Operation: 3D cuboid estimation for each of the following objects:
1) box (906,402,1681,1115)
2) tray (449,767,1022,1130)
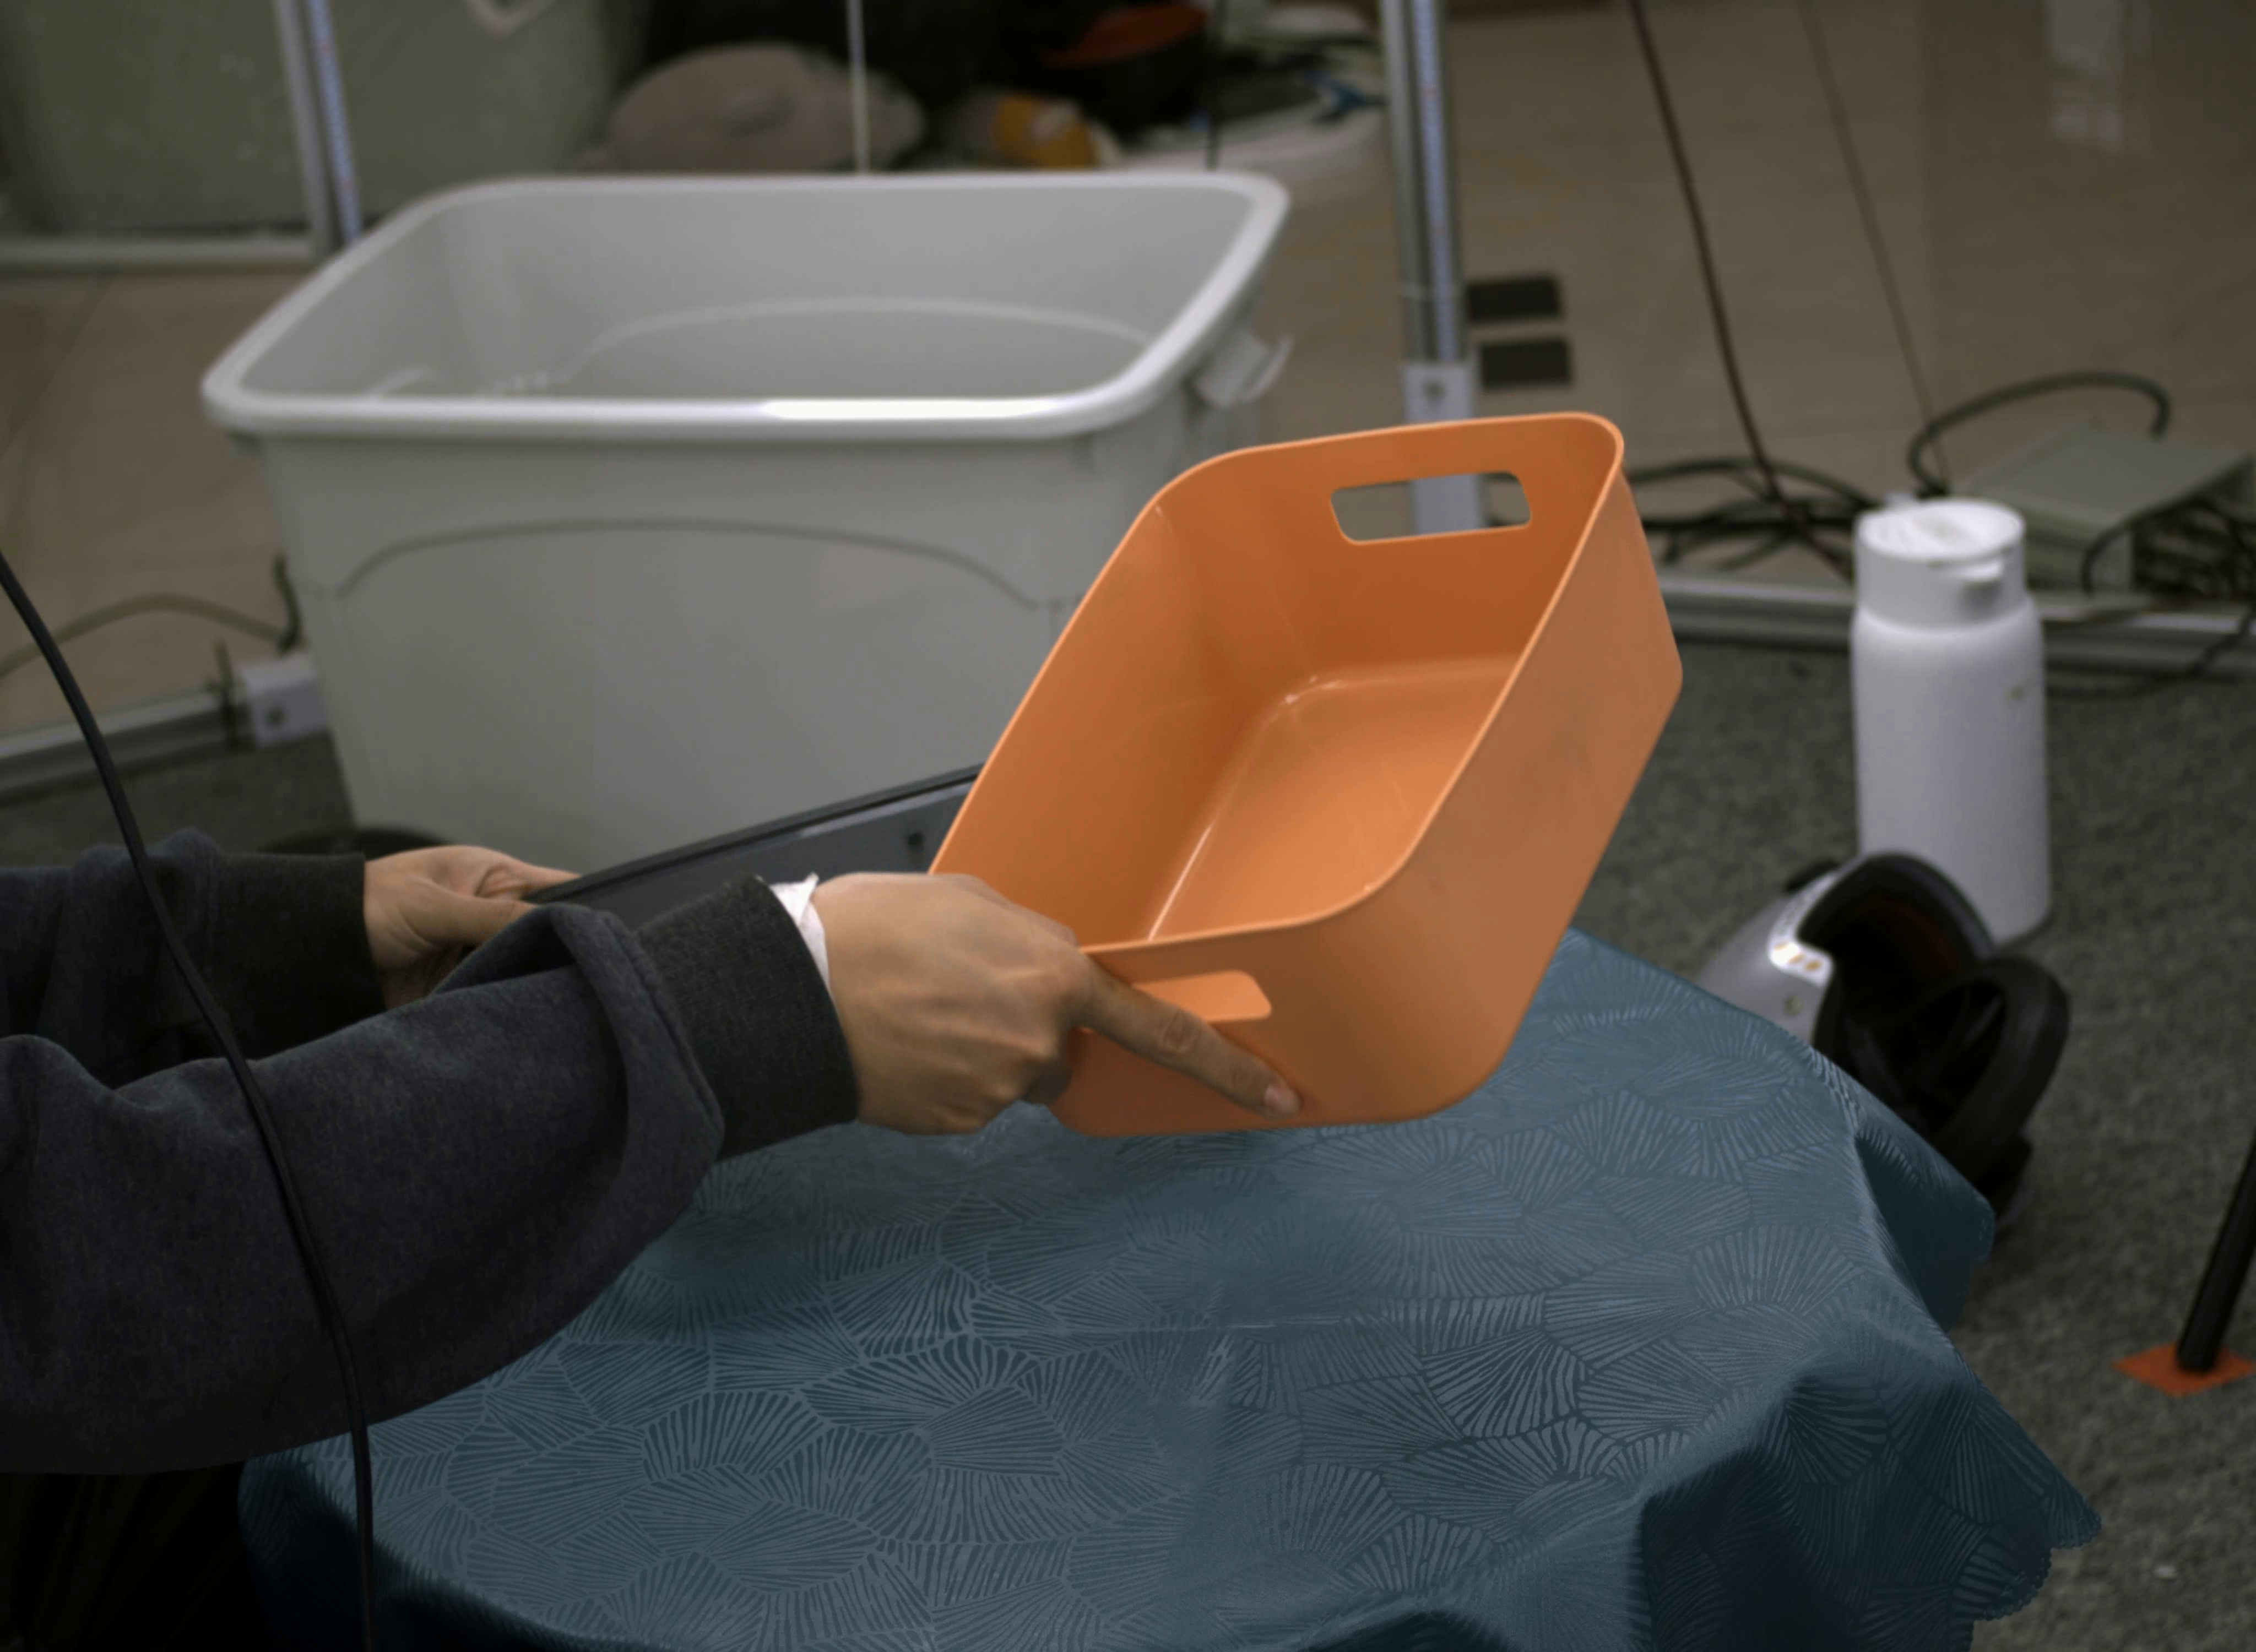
[{"bbox_3d":[0.063,-0.019,1.907,0.199,0.104,0.269,-3,39,32],"label":"box"},{"bbox_3d":[-0.100,0.040,2.185,0.324,0.010,0.208,-16,30,-19],"label":"tray"}]
